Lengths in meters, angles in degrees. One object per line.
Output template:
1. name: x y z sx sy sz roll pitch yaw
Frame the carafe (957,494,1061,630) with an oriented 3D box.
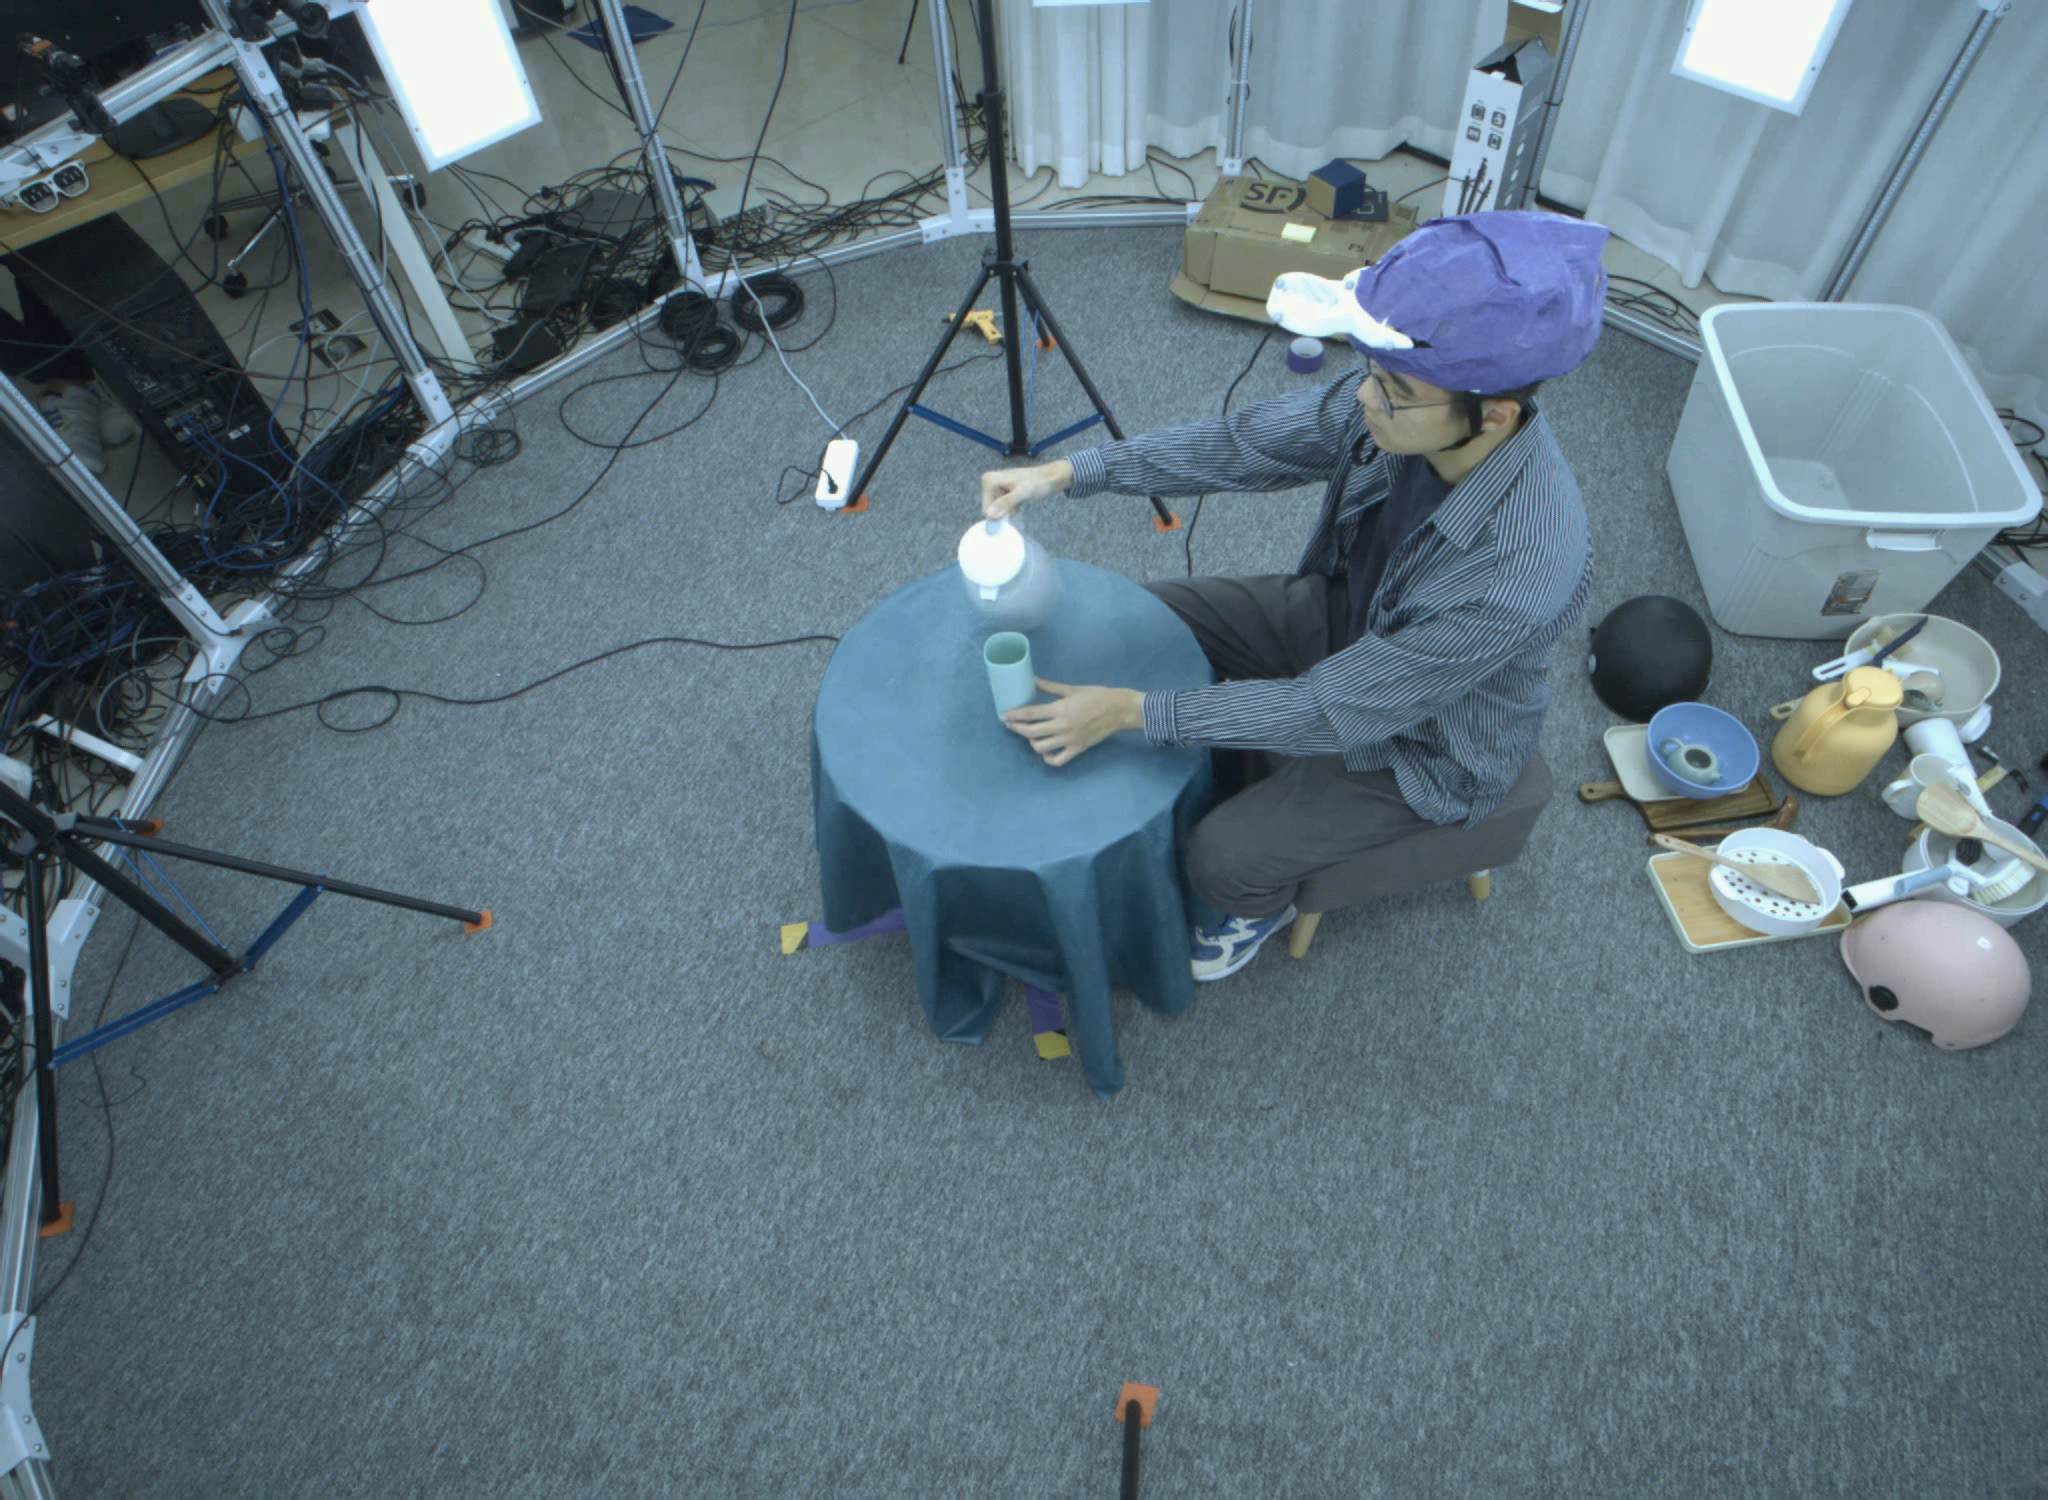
1. carafe: -0.028 -0.277 1.763 0.132 0.250 0.167 2 86 9

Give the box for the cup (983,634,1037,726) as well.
1. cup: -0.017 -0.098 1.748 0.066 0.134 0.066 -3 53 5
